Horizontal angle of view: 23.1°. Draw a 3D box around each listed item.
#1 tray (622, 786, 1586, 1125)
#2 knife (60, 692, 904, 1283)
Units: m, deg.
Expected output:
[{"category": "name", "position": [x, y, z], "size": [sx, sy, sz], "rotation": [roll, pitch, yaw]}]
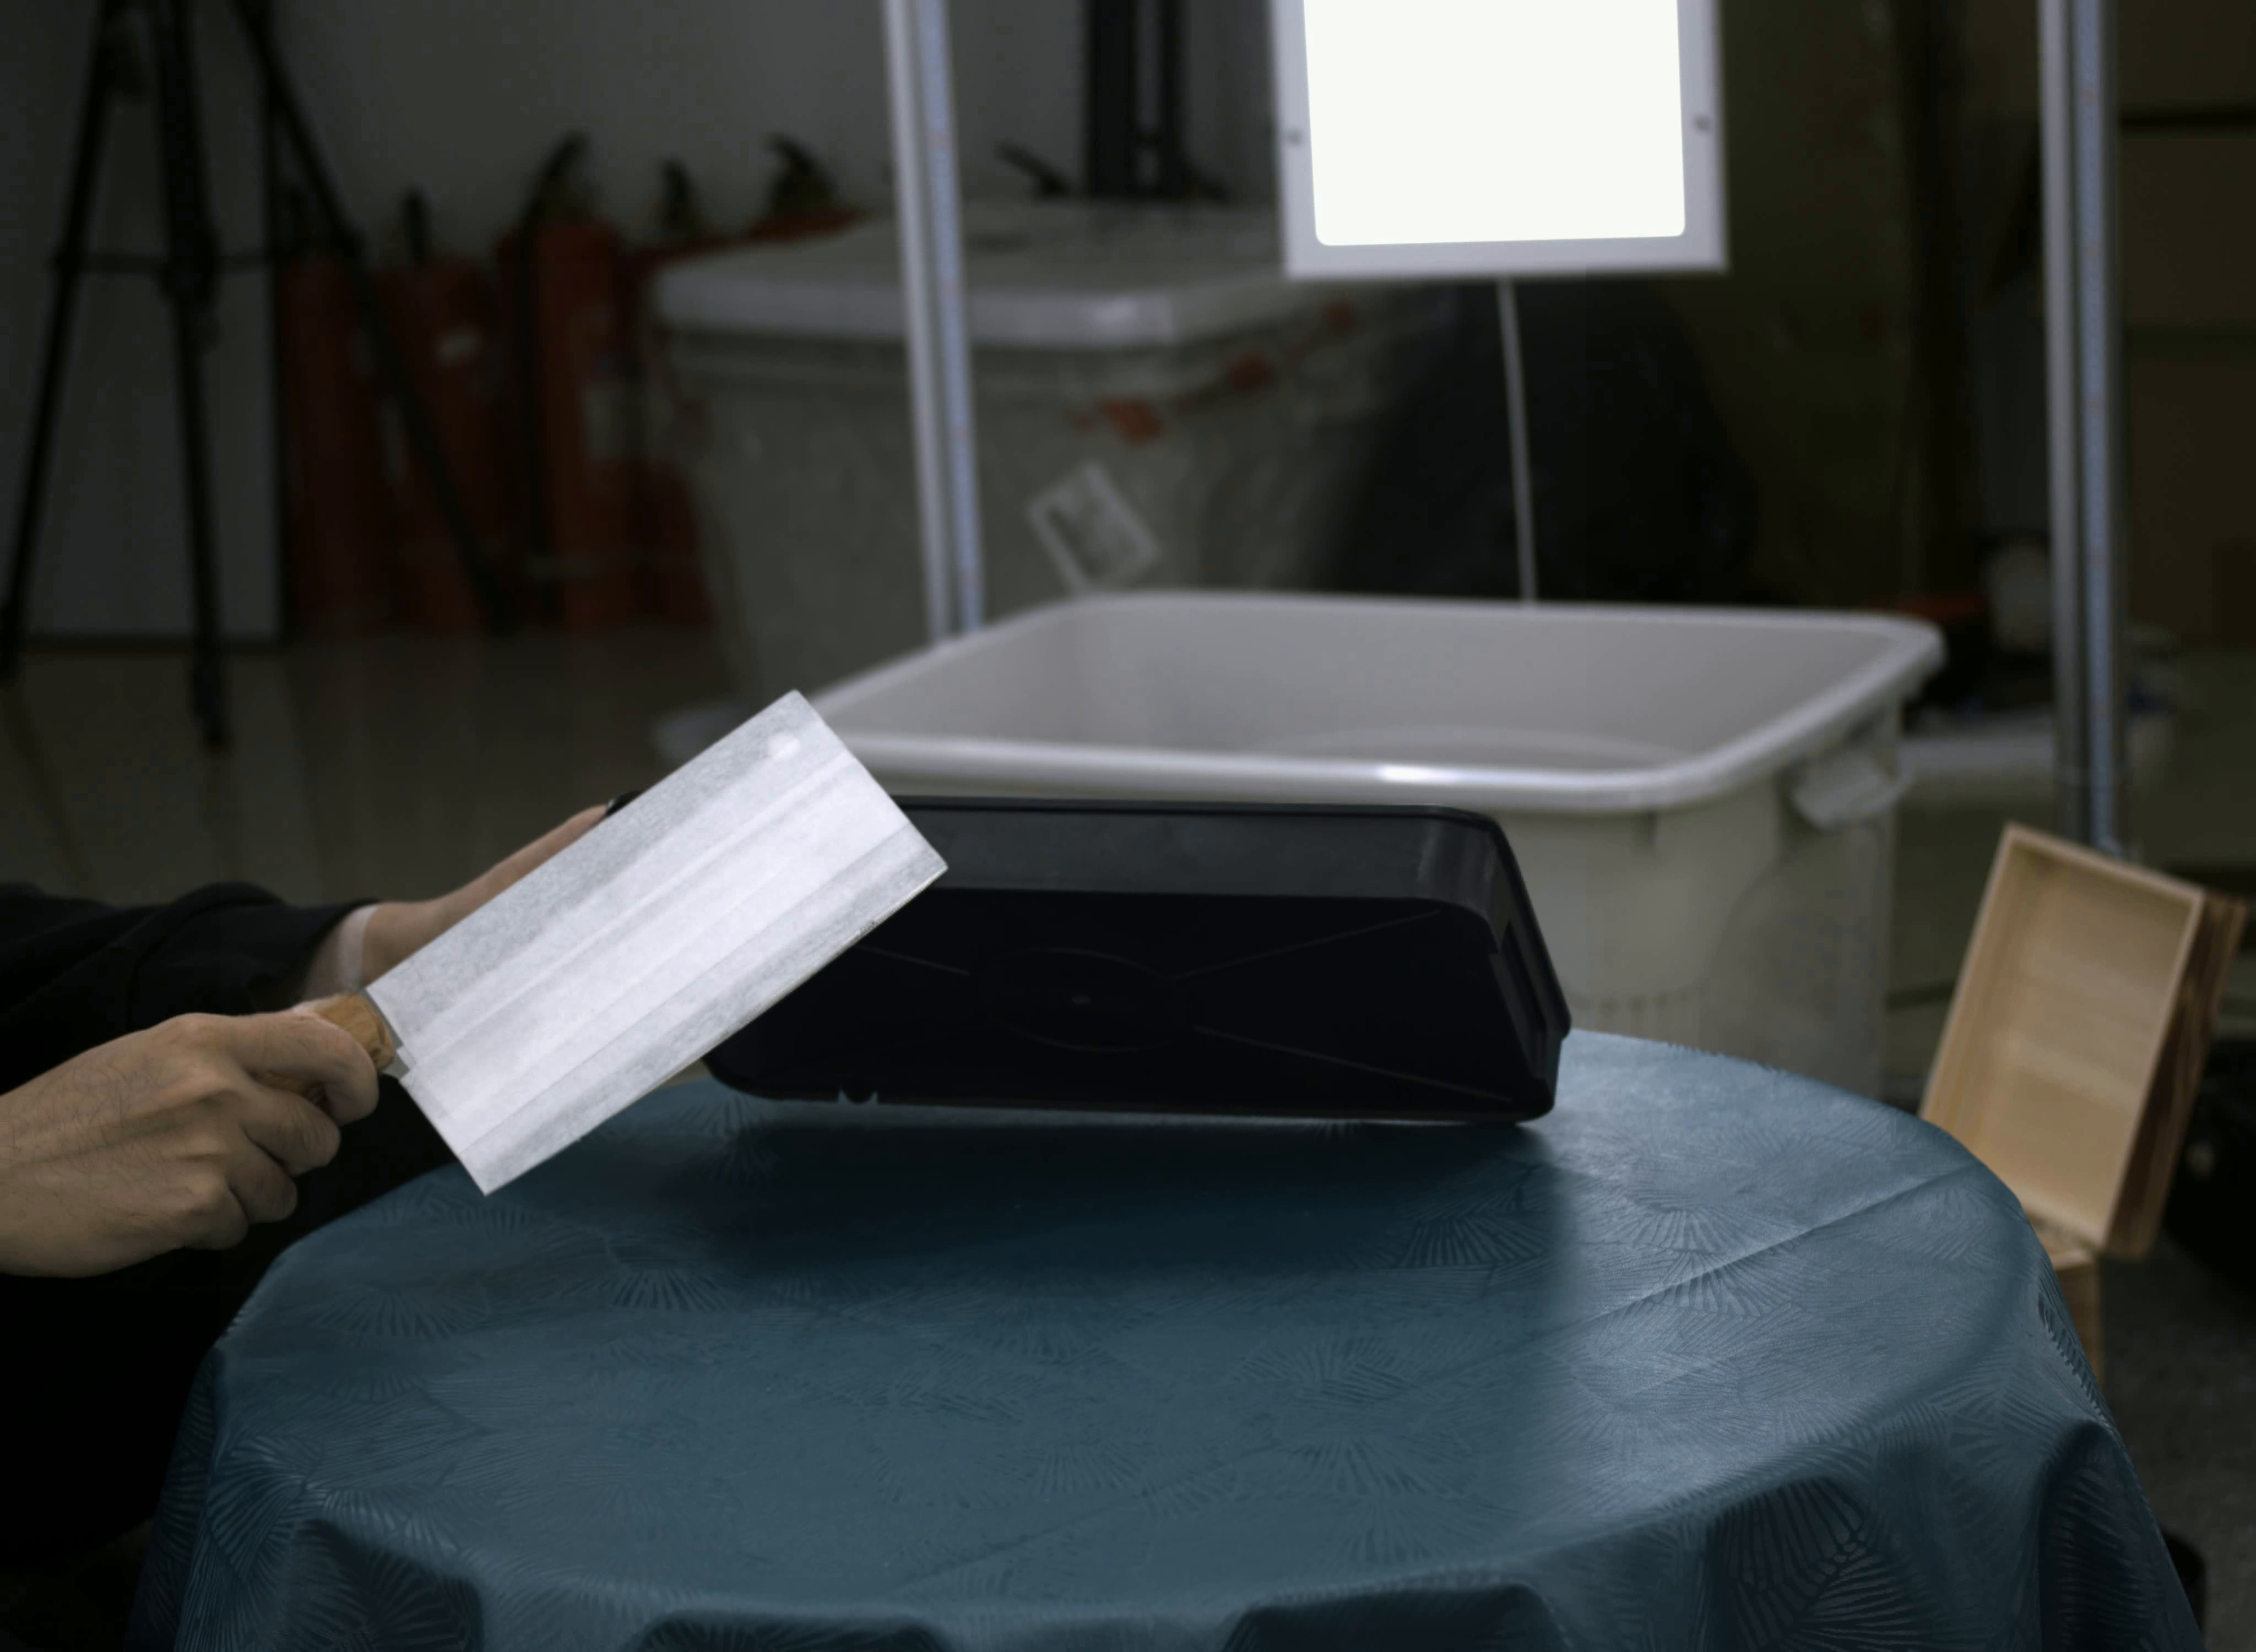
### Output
[{"category": "tray", "position": [-0.008, 0.046, 1.906], "size": [0.321, 0.037, 0.183], "rotation": [2, -27, 15]}, {"category": "knife", "position": [-0.208, 0.069, 1.829], "size": [0.303, 0.021, 0.094], "rotation": [-36, 66, -10]}]
